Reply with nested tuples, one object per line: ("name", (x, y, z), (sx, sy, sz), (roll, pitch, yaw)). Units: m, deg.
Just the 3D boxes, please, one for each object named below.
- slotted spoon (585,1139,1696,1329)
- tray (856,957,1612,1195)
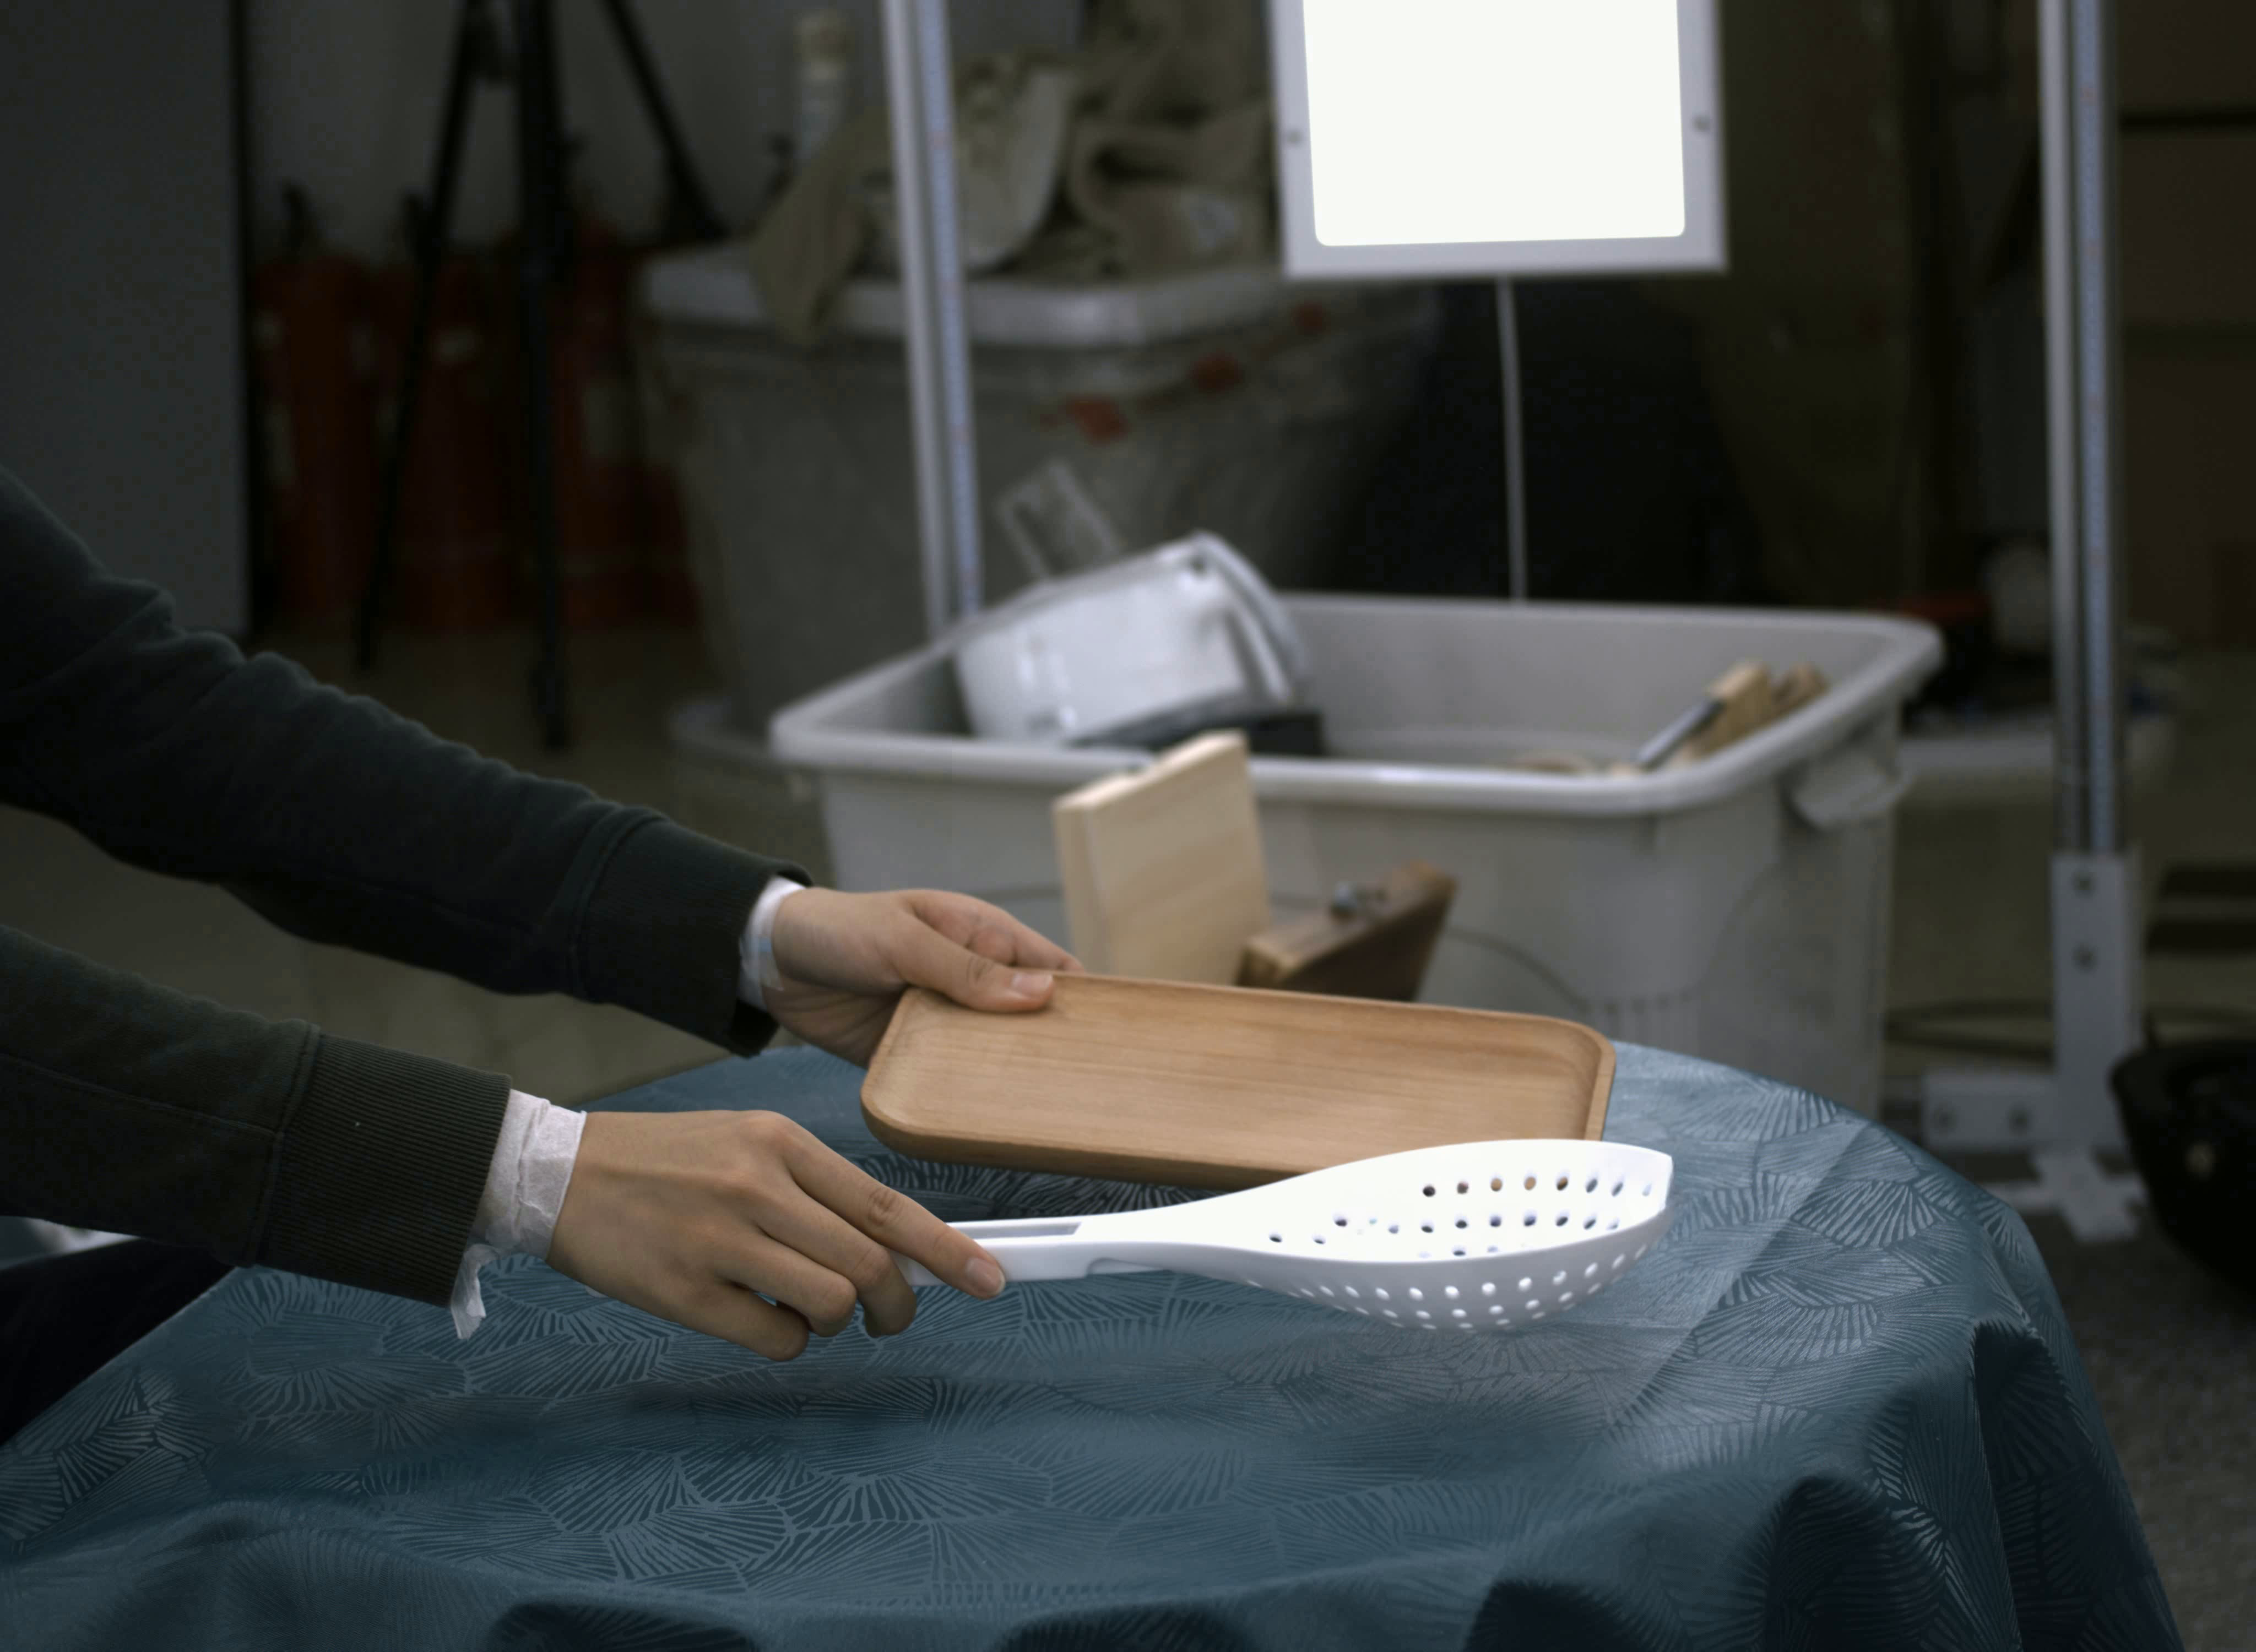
("slotted spoon", (0.001, 0.127, 1.701), (0.352, 0.046, 0.134), (0, 10, 13))
("tray", (0.037, 0.088, 1.874), (0.252, 0.023, 0.129), (4, 24, 11))
